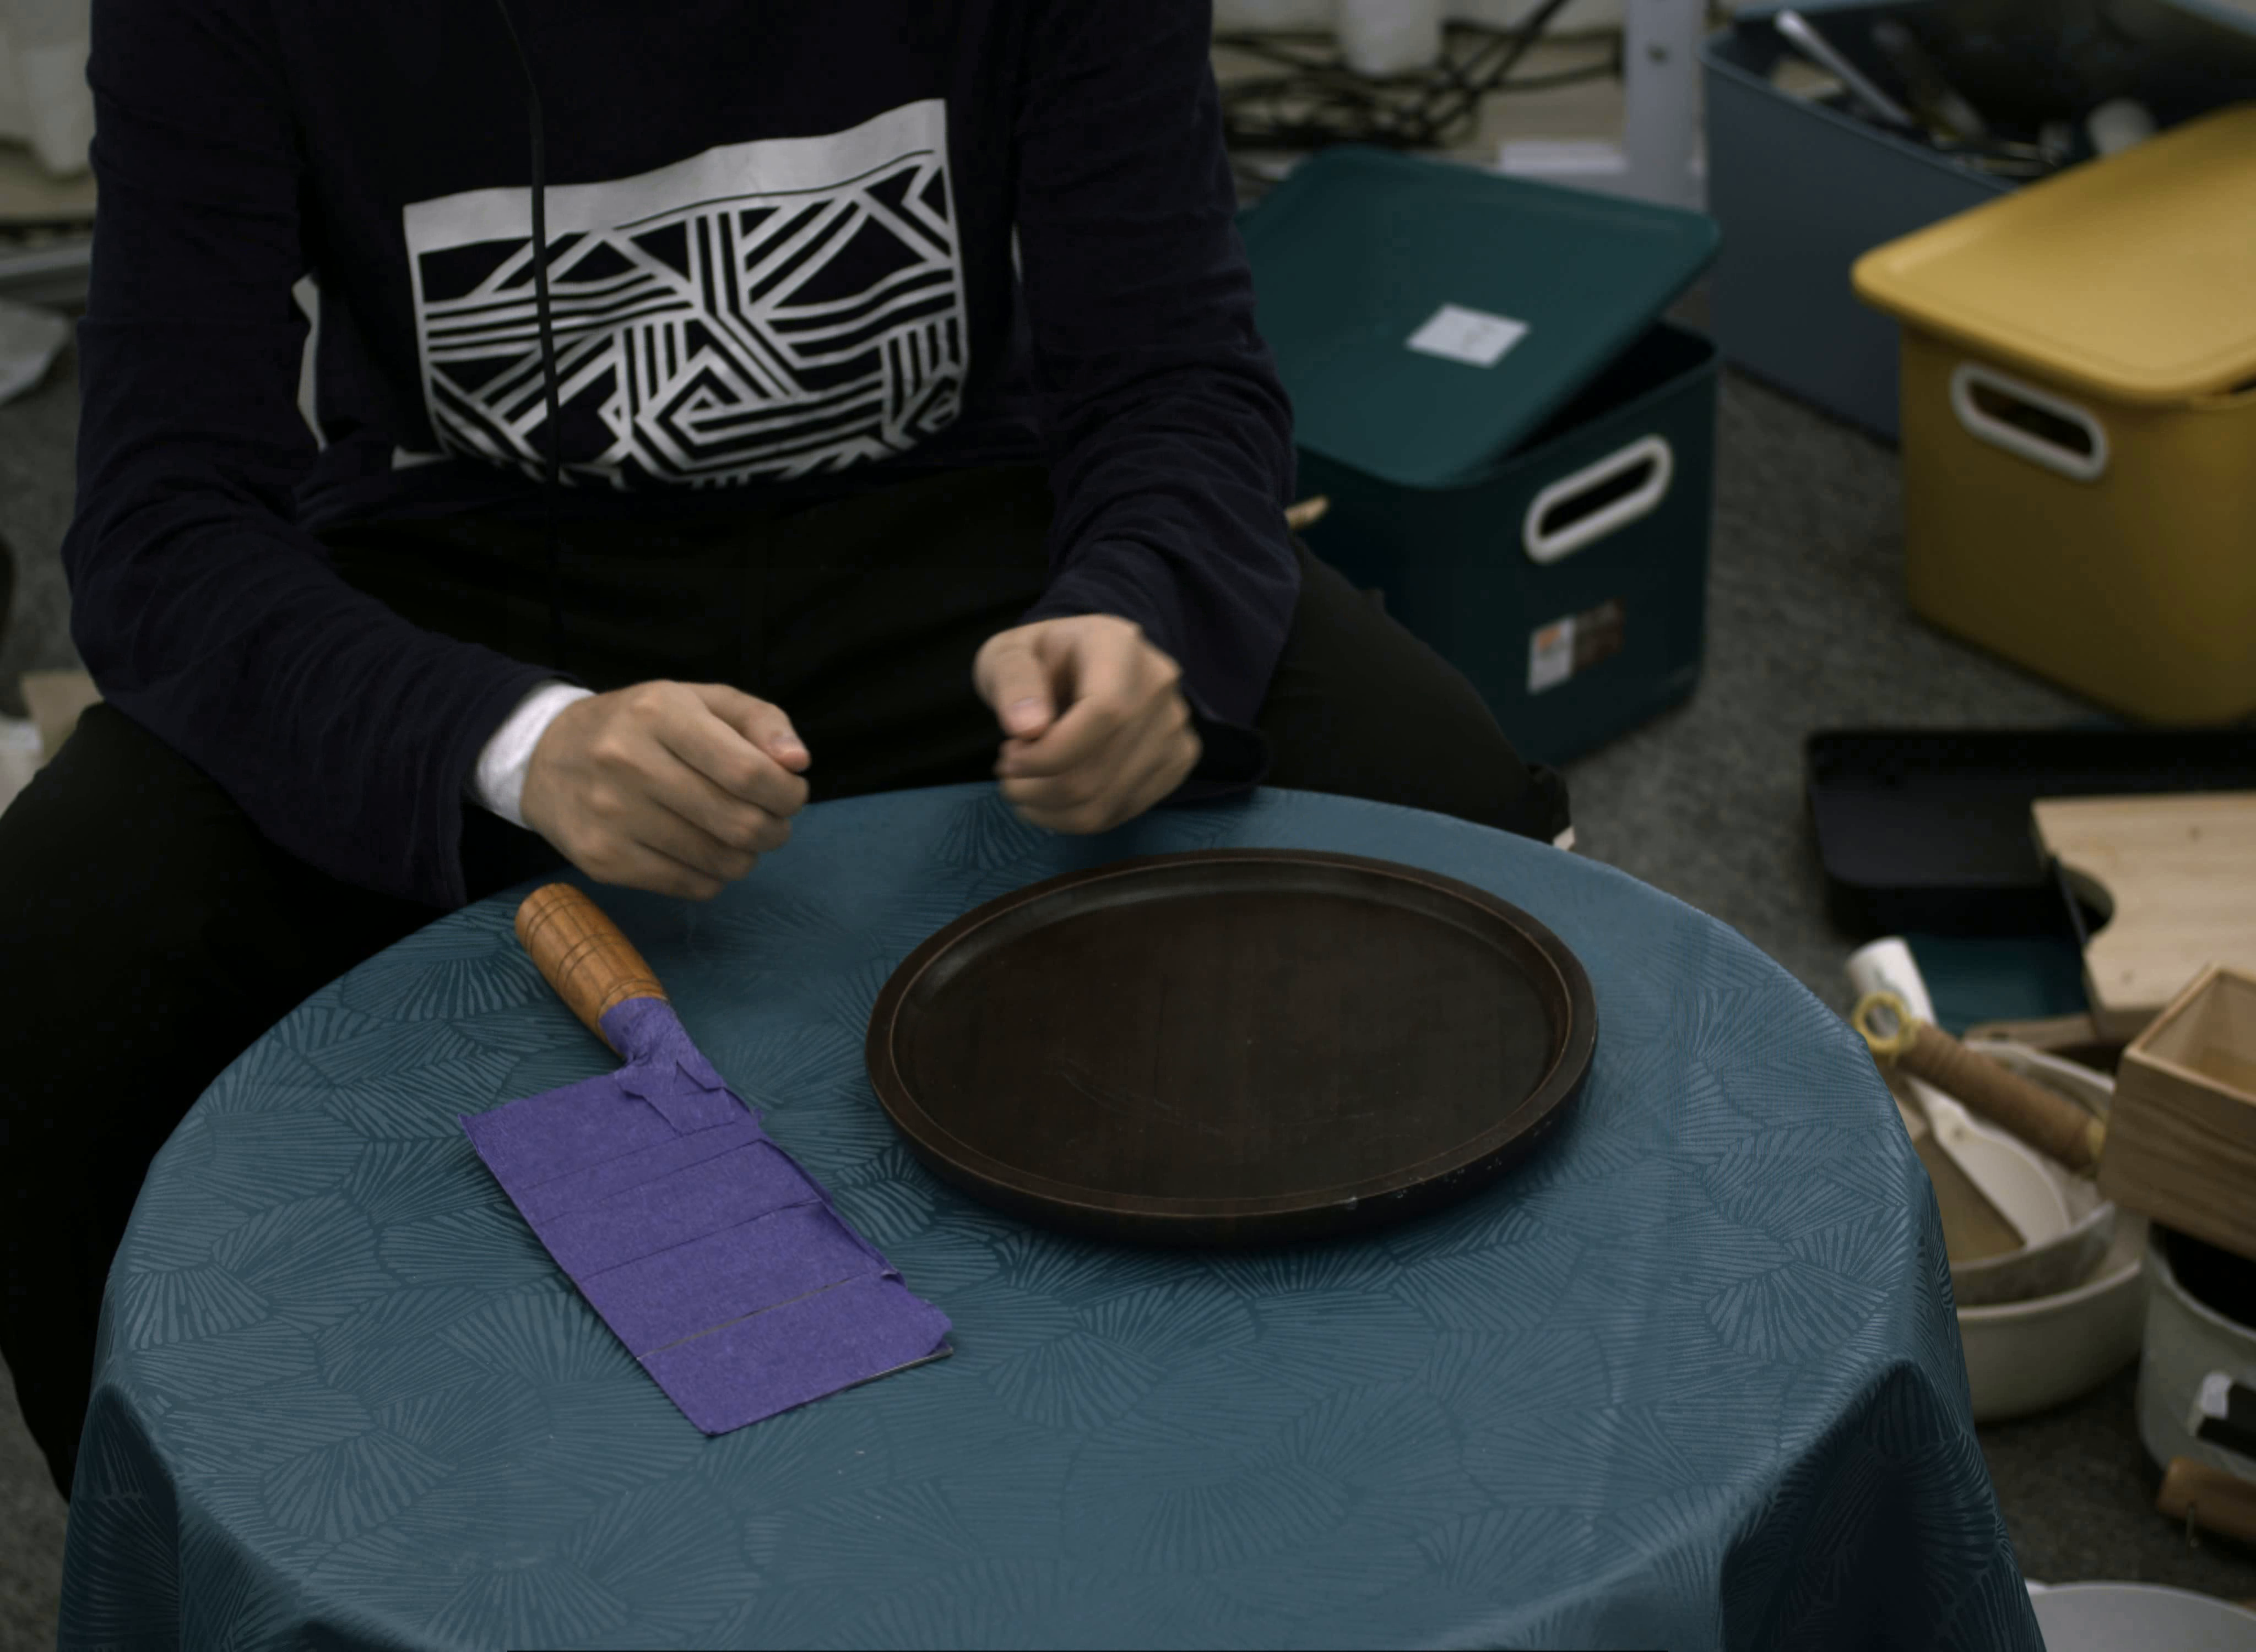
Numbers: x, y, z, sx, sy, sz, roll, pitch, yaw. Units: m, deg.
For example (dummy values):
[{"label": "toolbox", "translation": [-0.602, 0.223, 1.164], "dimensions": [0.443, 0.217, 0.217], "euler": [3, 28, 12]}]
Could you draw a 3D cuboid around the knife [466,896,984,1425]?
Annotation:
[{"label": "knife", "translation": [-0.163, 0.107, 1.875], "dimensions": [0.104, 0.032, 0.317], "euler": [-16, 30, -24]}]

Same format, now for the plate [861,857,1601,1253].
[{"label": "plate", "translation": [0.035, 0.076, 1.921], "dimensions": [0.253, 0.029, 0.259], "euler": [-2, 28, 1]}]
